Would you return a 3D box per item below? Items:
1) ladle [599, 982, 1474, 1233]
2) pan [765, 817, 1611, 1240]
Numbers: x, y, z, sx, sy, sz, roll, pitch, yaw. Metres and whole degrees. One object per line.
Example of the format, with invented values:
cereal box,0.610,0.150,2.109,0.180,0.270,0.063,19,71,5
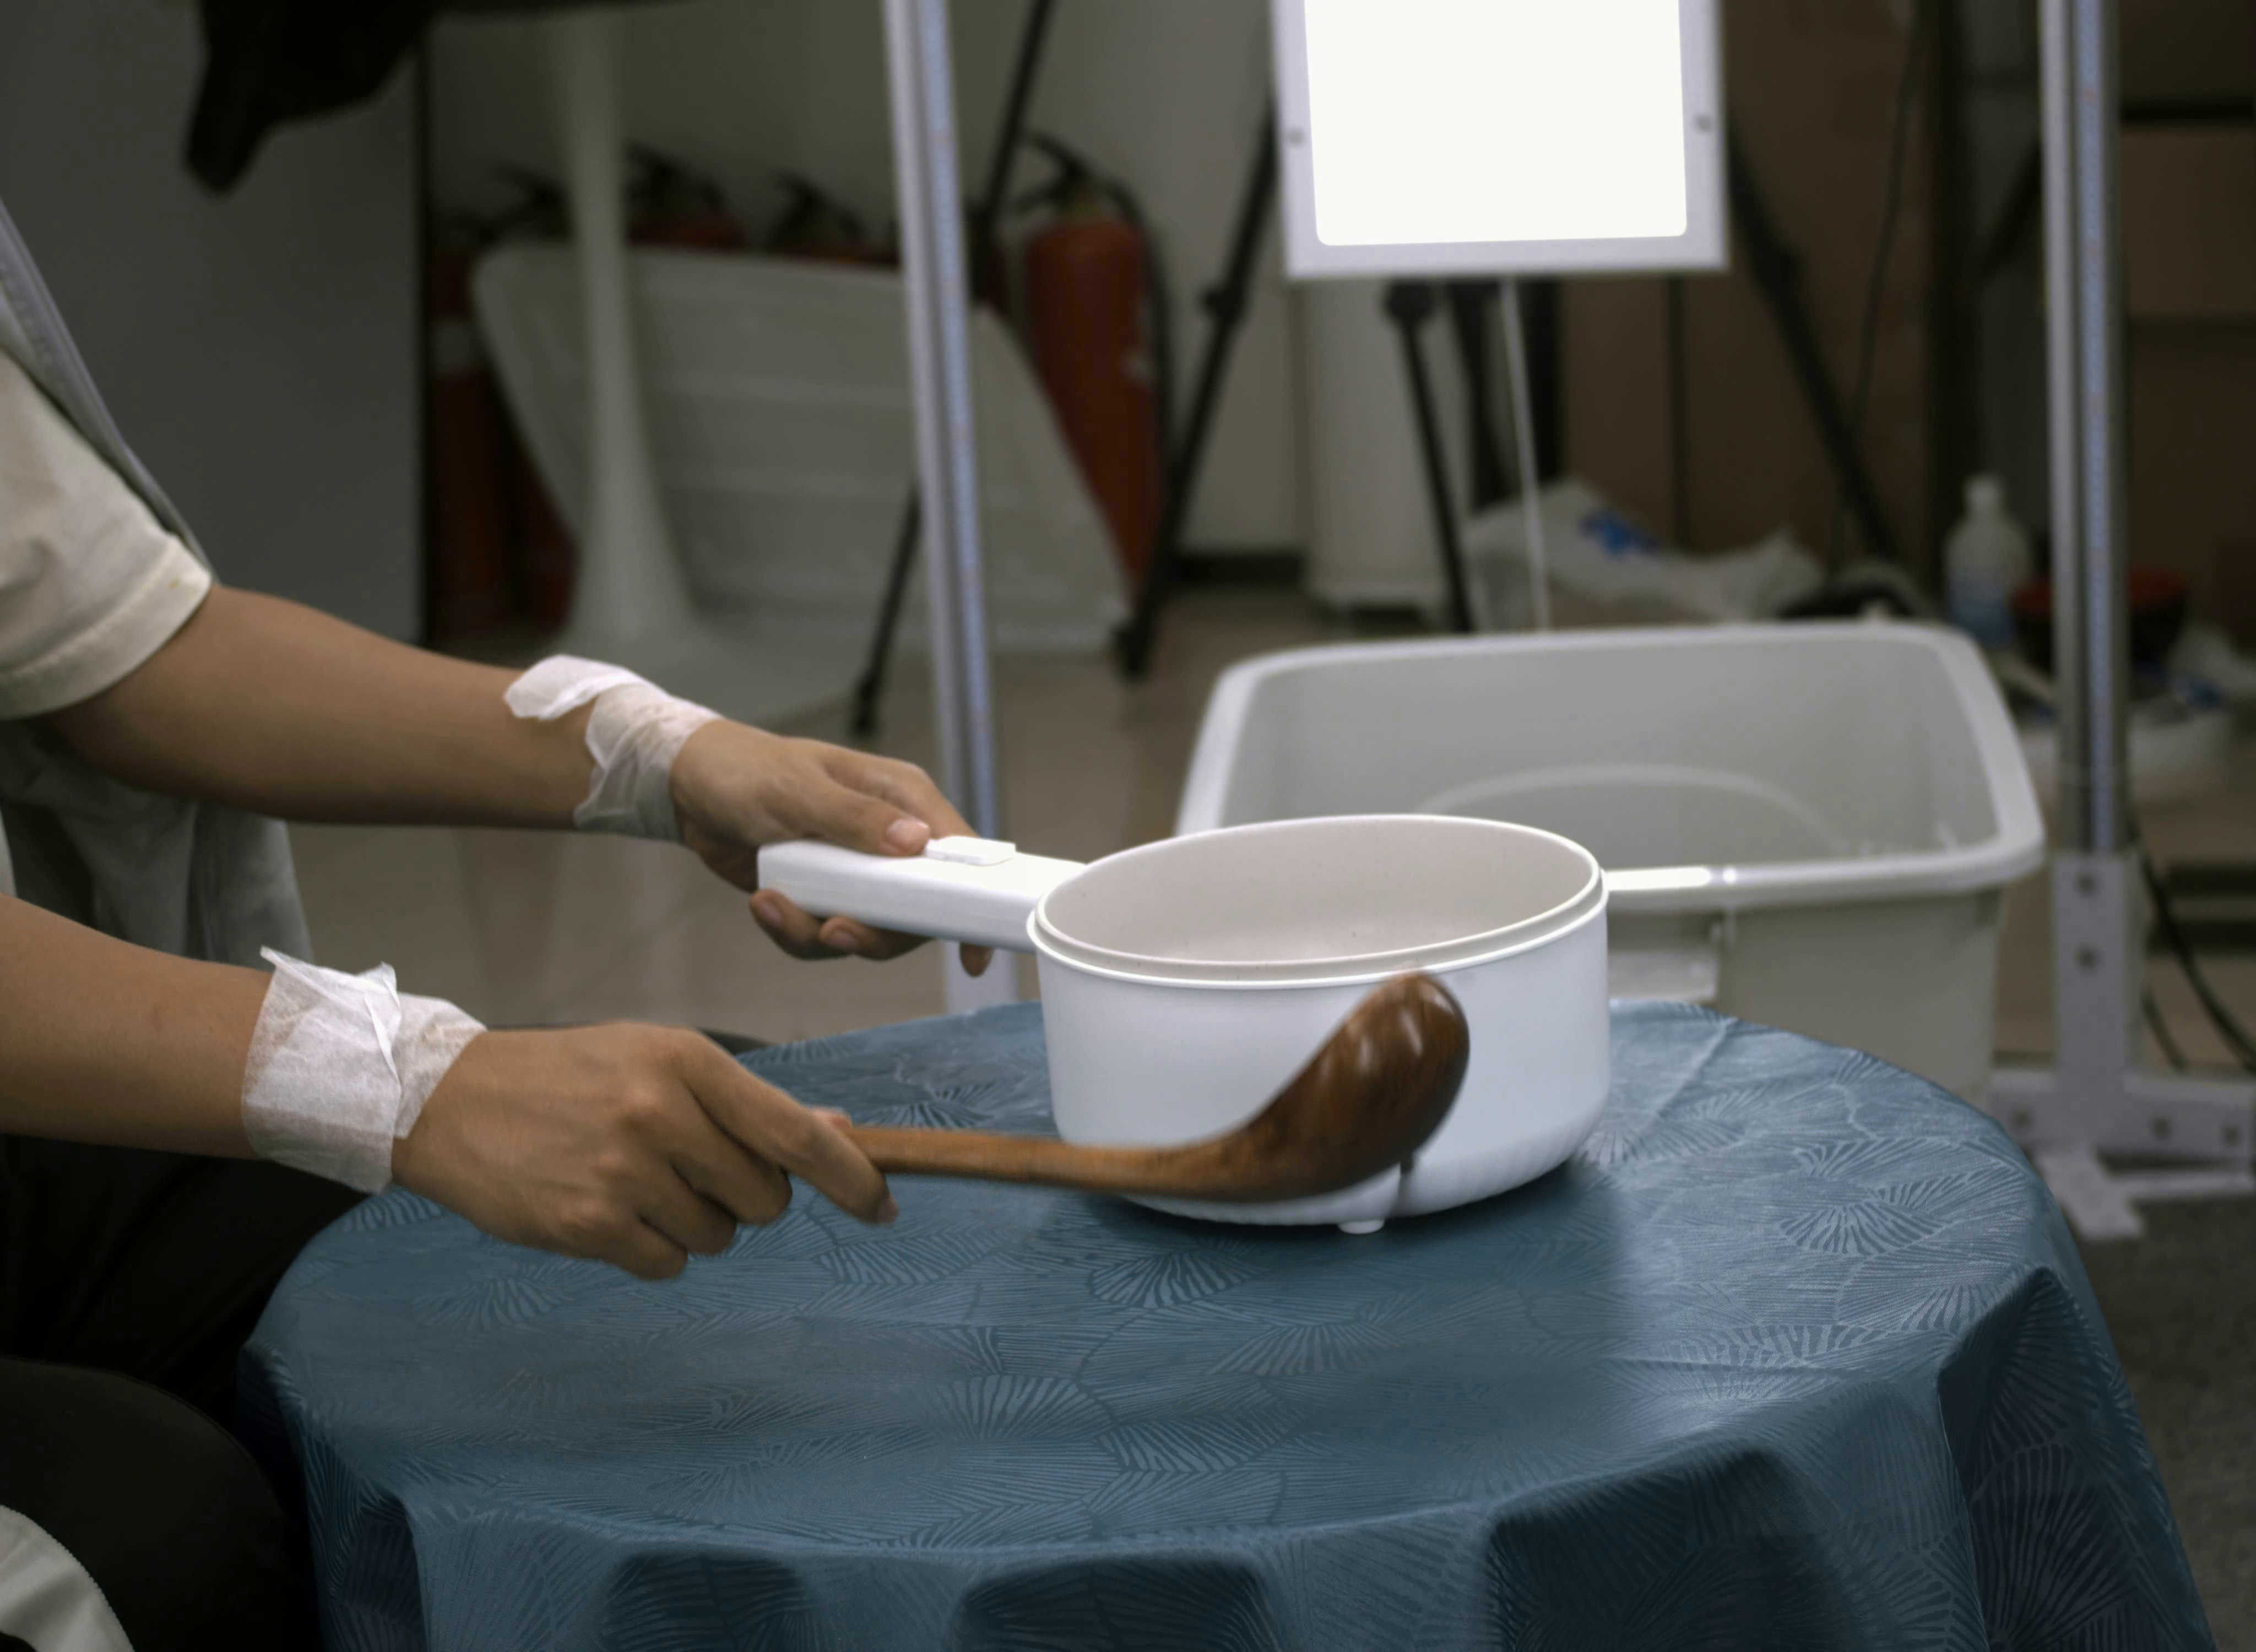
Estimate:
ladle,-0.029,0.085,1.706,0.277,0.076,0.081,0,-30,17
pan,0.011,0.064,1.947,0.362,0.102,0.196,6,19,42
